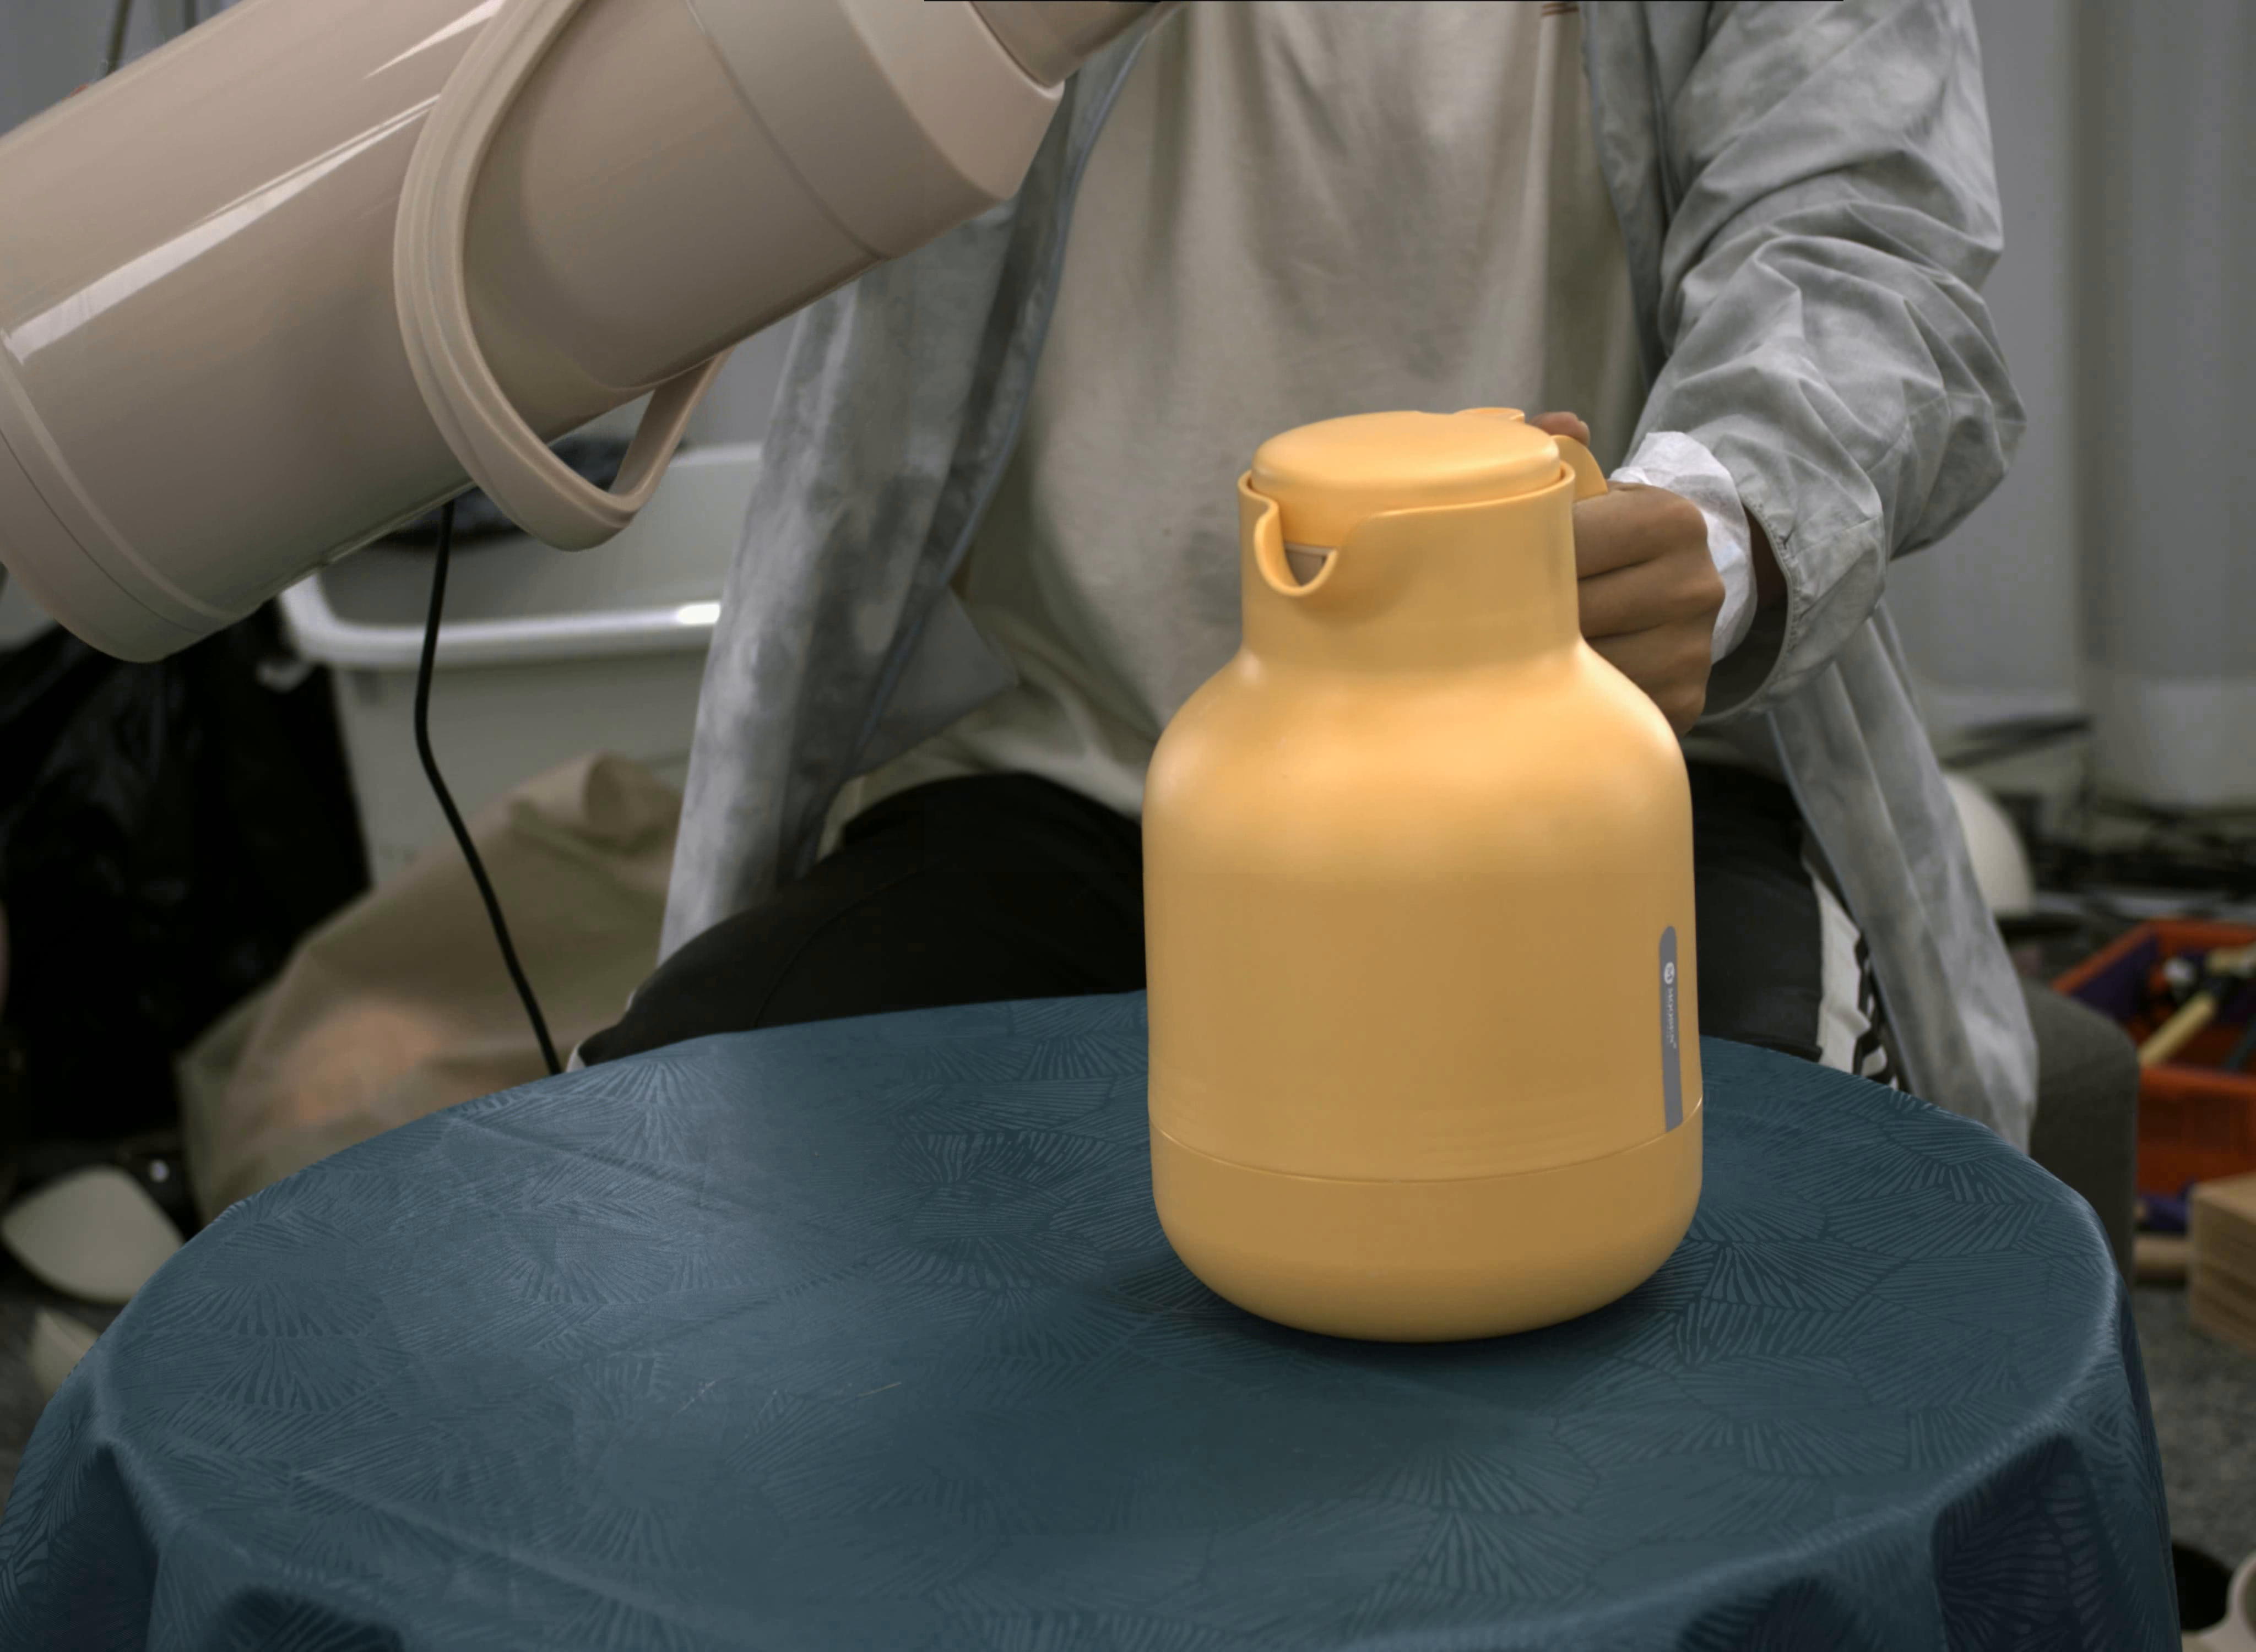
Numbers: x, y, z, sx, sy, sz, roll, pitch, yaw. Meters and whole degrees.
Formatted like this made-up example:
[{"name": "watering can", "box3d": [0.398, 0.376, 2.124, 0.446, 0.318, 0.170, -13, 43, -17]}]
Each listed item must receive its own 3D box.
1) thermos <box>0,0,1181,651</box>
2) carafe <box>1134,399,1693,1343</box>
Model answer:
[{"name": "thermos", "box3d": [-0.159, -0.219, 1.600, 0.405, 0.210, 0.173, -27, -28, 14]}, {"name": "carafe", "box3d": [0.093, 0.005, 1.610, 0.164, 0.259, 0.202, 8, 18, 30]}]
